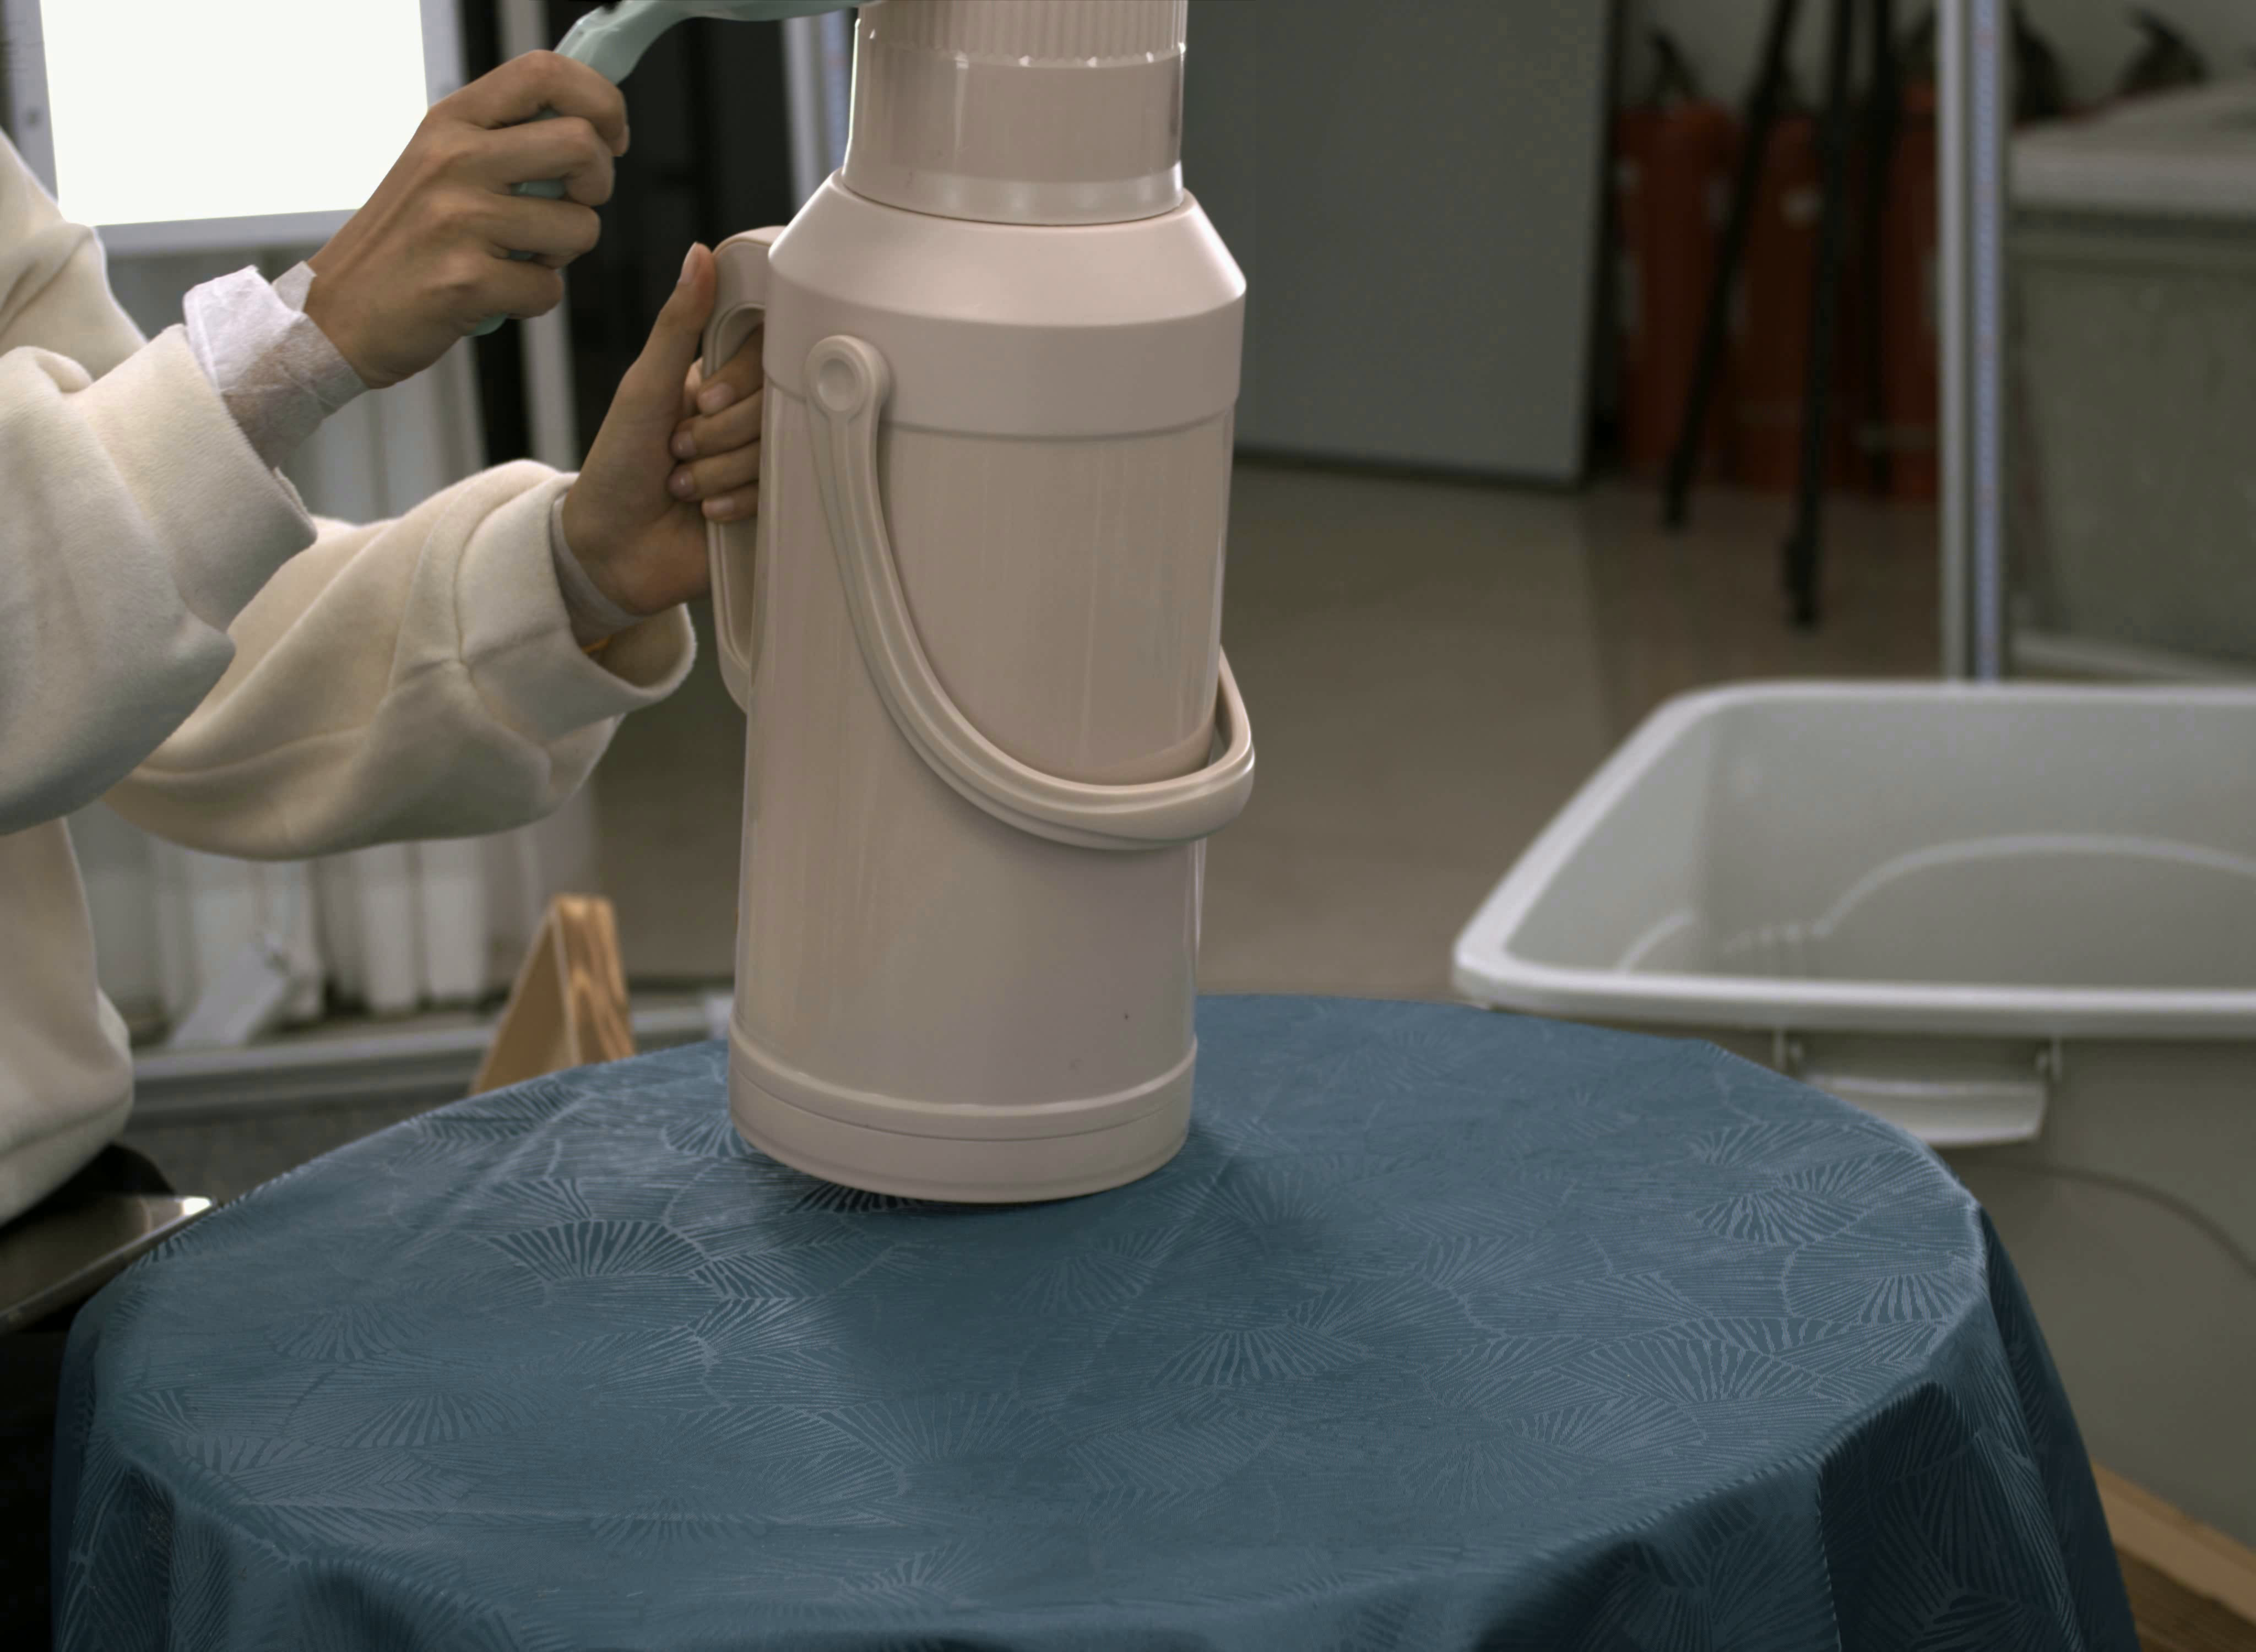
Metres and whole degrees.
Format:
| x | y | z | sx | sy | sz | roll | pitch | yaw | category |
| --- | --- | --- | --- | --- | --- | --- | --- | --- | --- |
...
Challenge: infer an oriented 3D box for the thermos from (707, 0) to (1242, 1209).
| x | y | z | sx | sy | sz | roll | pitch | yaw | category |
| --- | --- | --- | --- | --- | --- | --- | --- | --- | --- |
| -0.055 | -0.093 | 1.777 | 0.208 | 0.411 | 0.172 | 15 | 21 | 34 | thermos |

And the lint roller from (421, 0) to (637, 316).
| x | y | z | sx | sy | sz | roll | pitch | yaw | category |
| --- | --- | --- | --- | --- | --- | --- | --- | --- | --- |
| -0.159 | -0.243 | 1.683 | 0.197 | 0.048 | 0.118 | -46 | 31 | -2 | lint roller |
